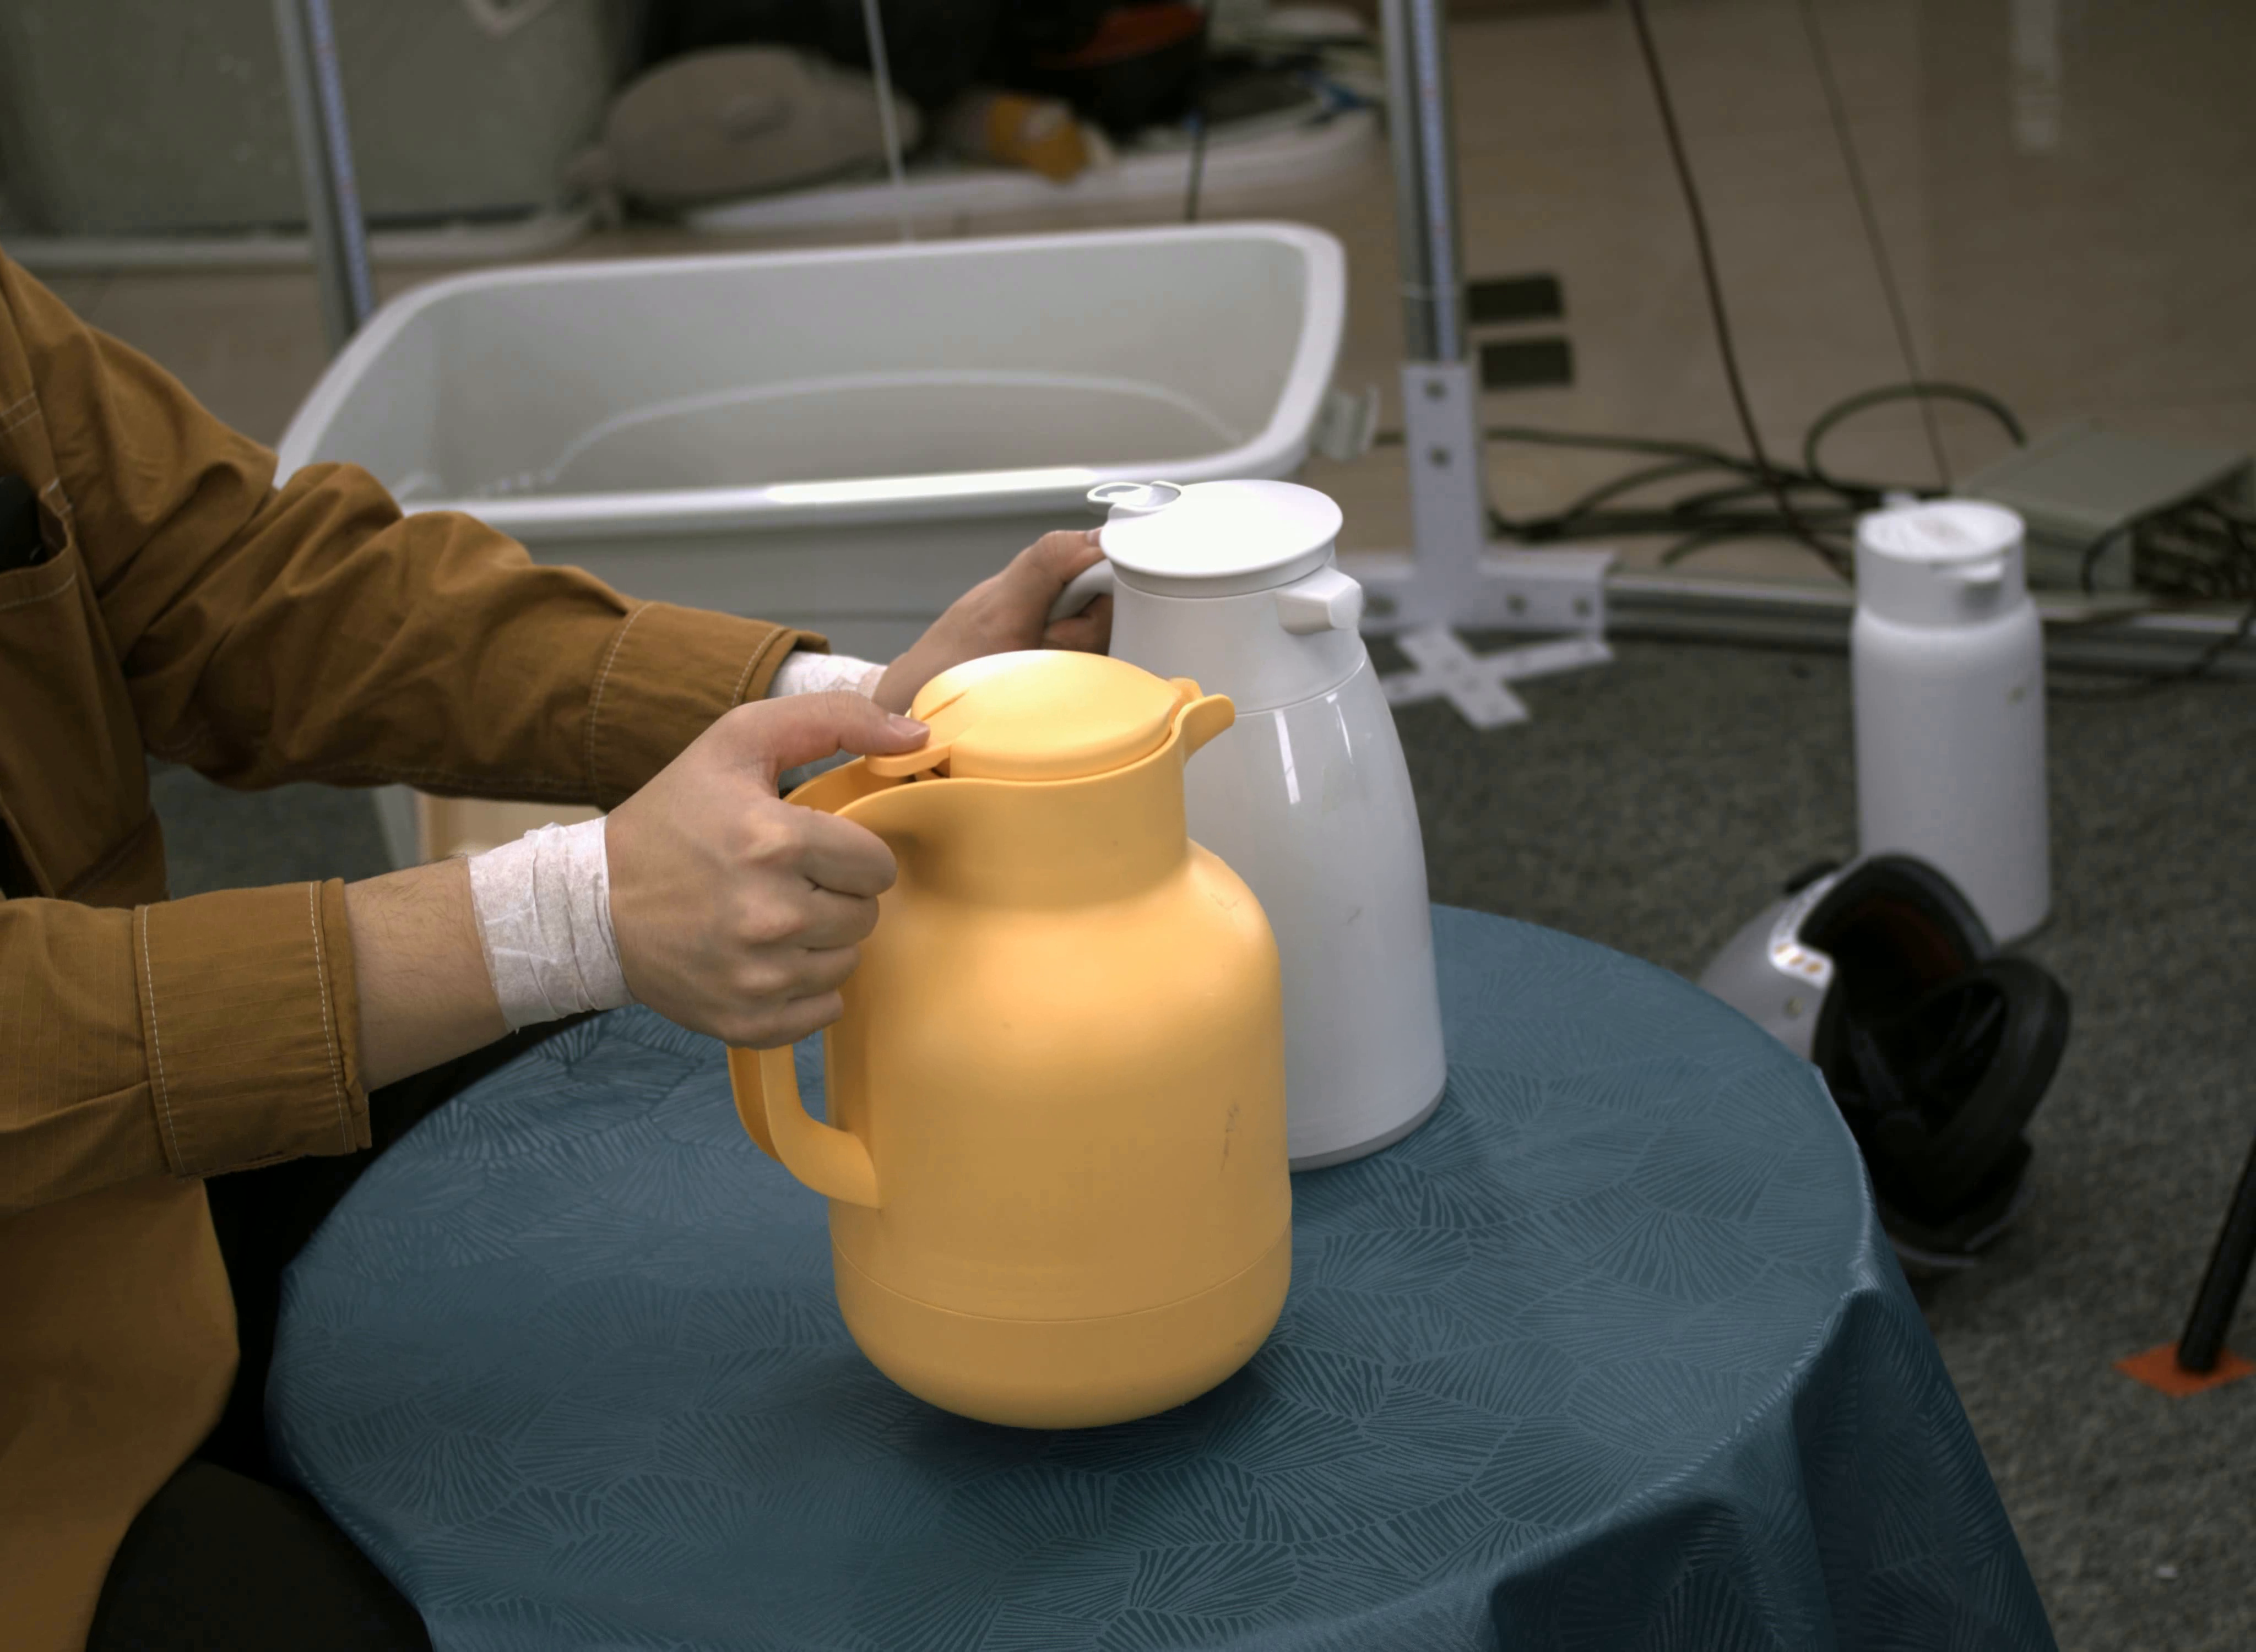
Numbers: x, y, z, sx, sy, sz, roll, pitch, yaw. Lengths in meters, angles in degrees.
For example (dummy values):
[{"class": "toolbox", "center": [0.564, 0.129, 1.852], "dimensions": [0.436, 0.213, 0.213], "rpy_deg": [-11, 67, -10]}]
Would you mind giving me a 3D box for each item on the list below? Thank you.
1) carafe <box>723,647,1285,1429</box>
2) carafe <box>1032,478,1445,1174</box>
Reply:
[{"class": "carafe", "center": [-0.044, 0.073, 1.961], "dimensions": [0.201, 0.264, 0.161], "rpy_deg": [-14, 27, -26]}, {"class": "carafe", "center": [0.032, -0.010, 2.164], "dimensions": [0.166, 0.252, 0.131], "rpy_deg": [17, 34, 40]}]
